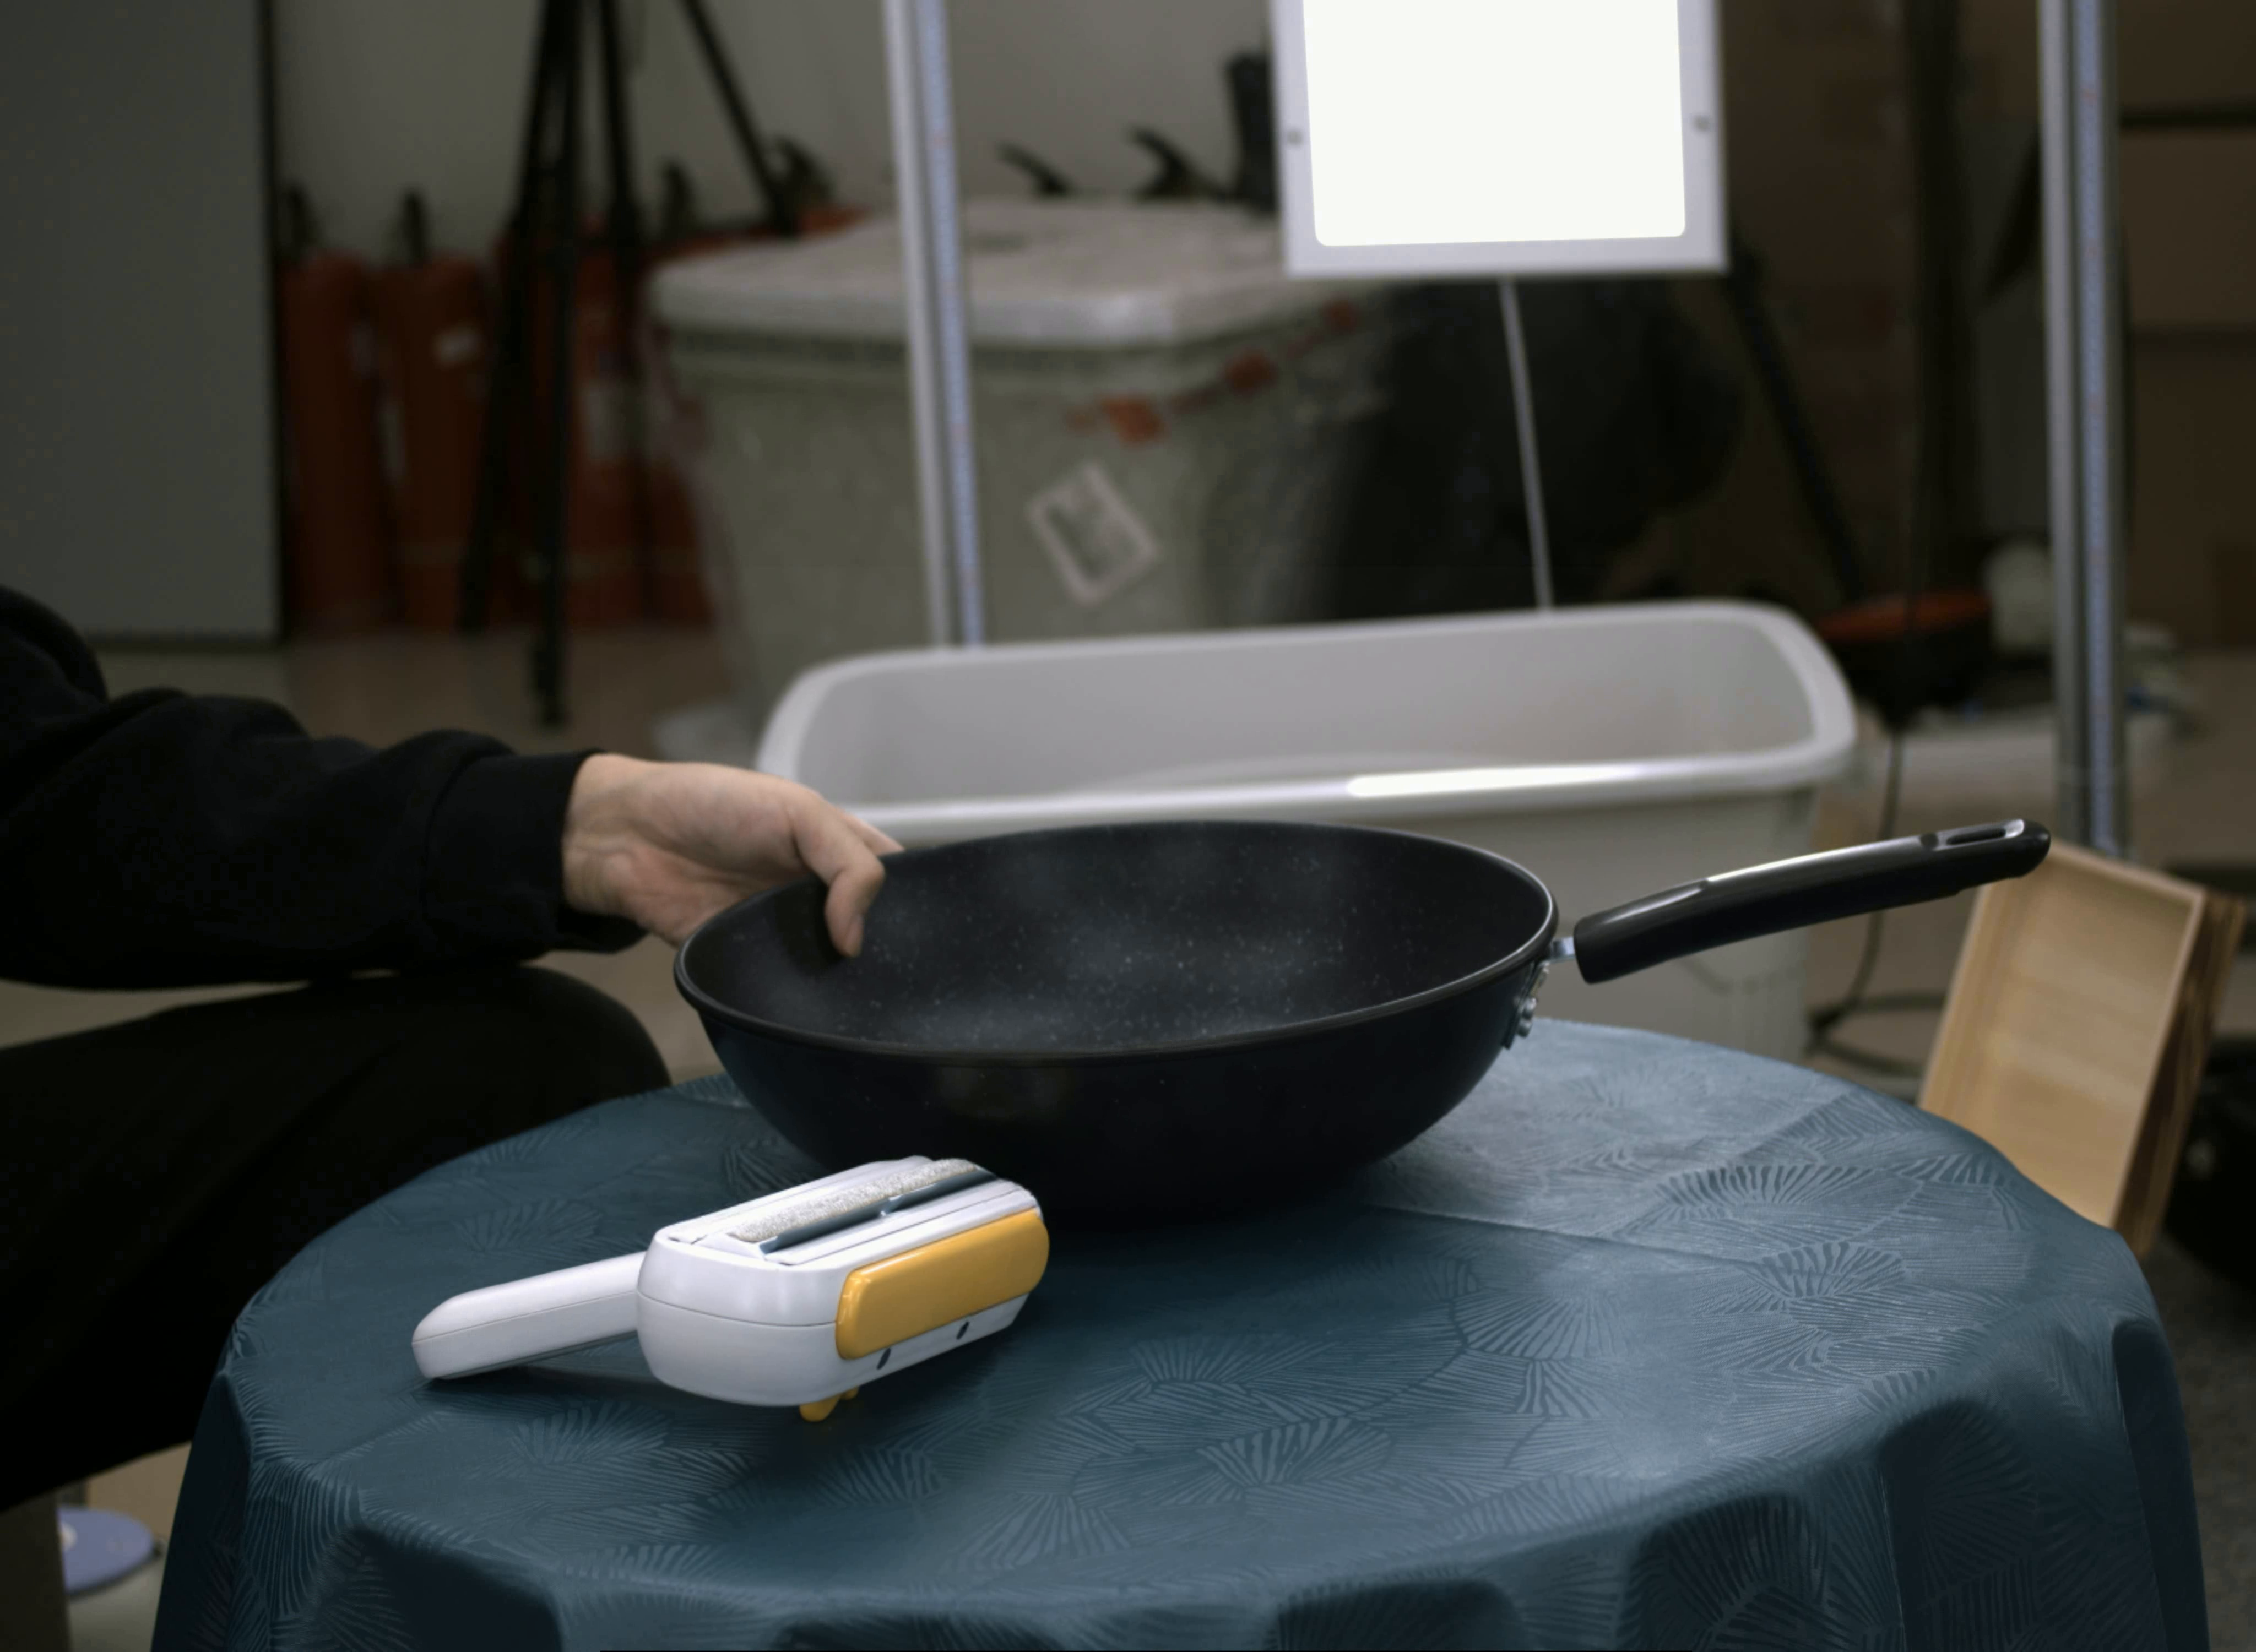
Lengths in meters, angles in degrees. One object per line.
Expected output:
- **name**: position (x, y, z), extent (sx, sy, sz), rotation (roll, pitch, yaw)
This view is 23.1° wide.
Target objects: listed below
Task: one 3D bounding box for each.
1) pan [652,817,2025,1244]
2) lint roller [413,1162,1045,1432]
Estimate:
- **pan**: position (0.073, 0.063, 1.899), extent (0.480, 0.112, 0.307), rotation (-2, 15, 11)
- **lint roller**: position (-0.141, 0.146, 1.725), extent (0.196, 0.074, 0.188), rotation (1, 10, 29)
